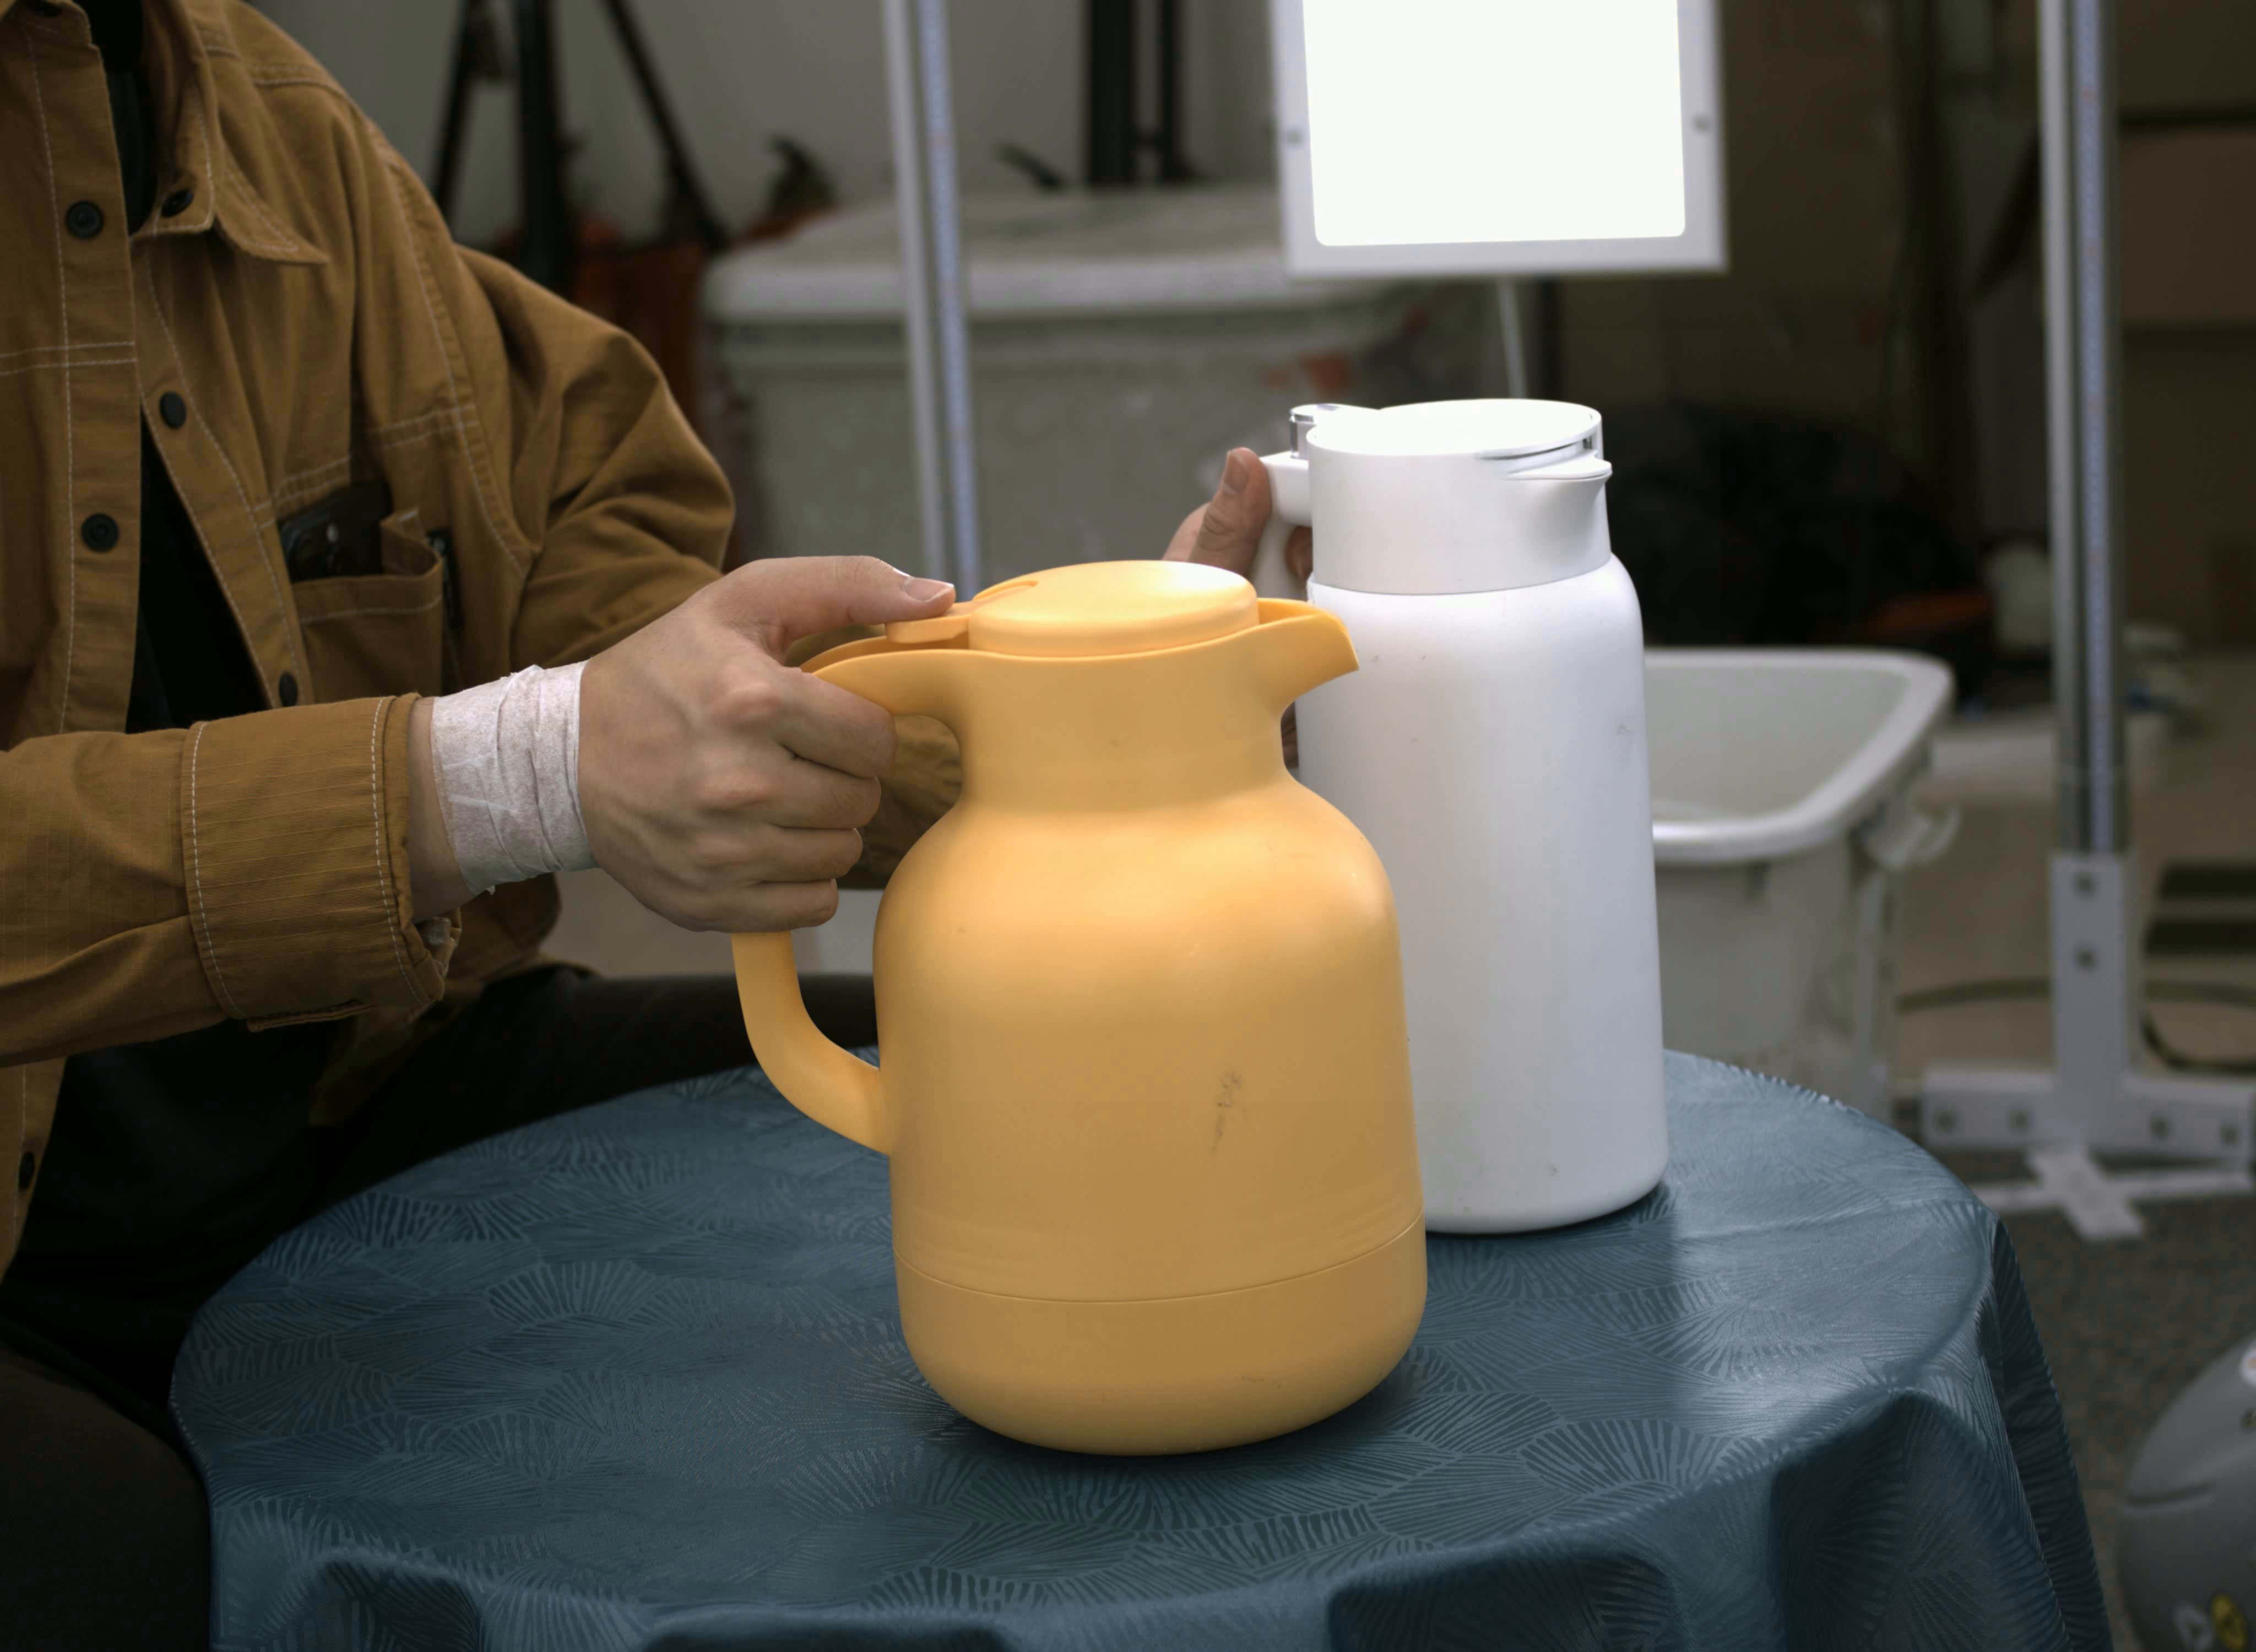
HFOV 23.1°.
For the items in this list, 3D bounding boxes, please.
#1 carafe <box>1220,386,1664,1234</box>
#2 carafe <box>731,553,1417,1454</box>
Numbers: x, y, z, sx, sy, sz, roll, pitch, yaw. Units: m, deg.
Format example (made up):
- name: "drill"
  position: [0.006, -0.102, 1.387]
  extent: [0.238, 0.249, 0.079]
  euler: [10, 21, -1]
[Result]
- name: "carafe"
  position: [0.103, -0.008, 1.846]
  extent: [0.121, 0.270, 0.176]
  euler: [-18, 19, -38]
- name: "carafe"
  position: [-0.016, 0.050, 1.666]
  extent: [0.202, 0.261, 0.162]
  euler: [-2, 11, 4]
